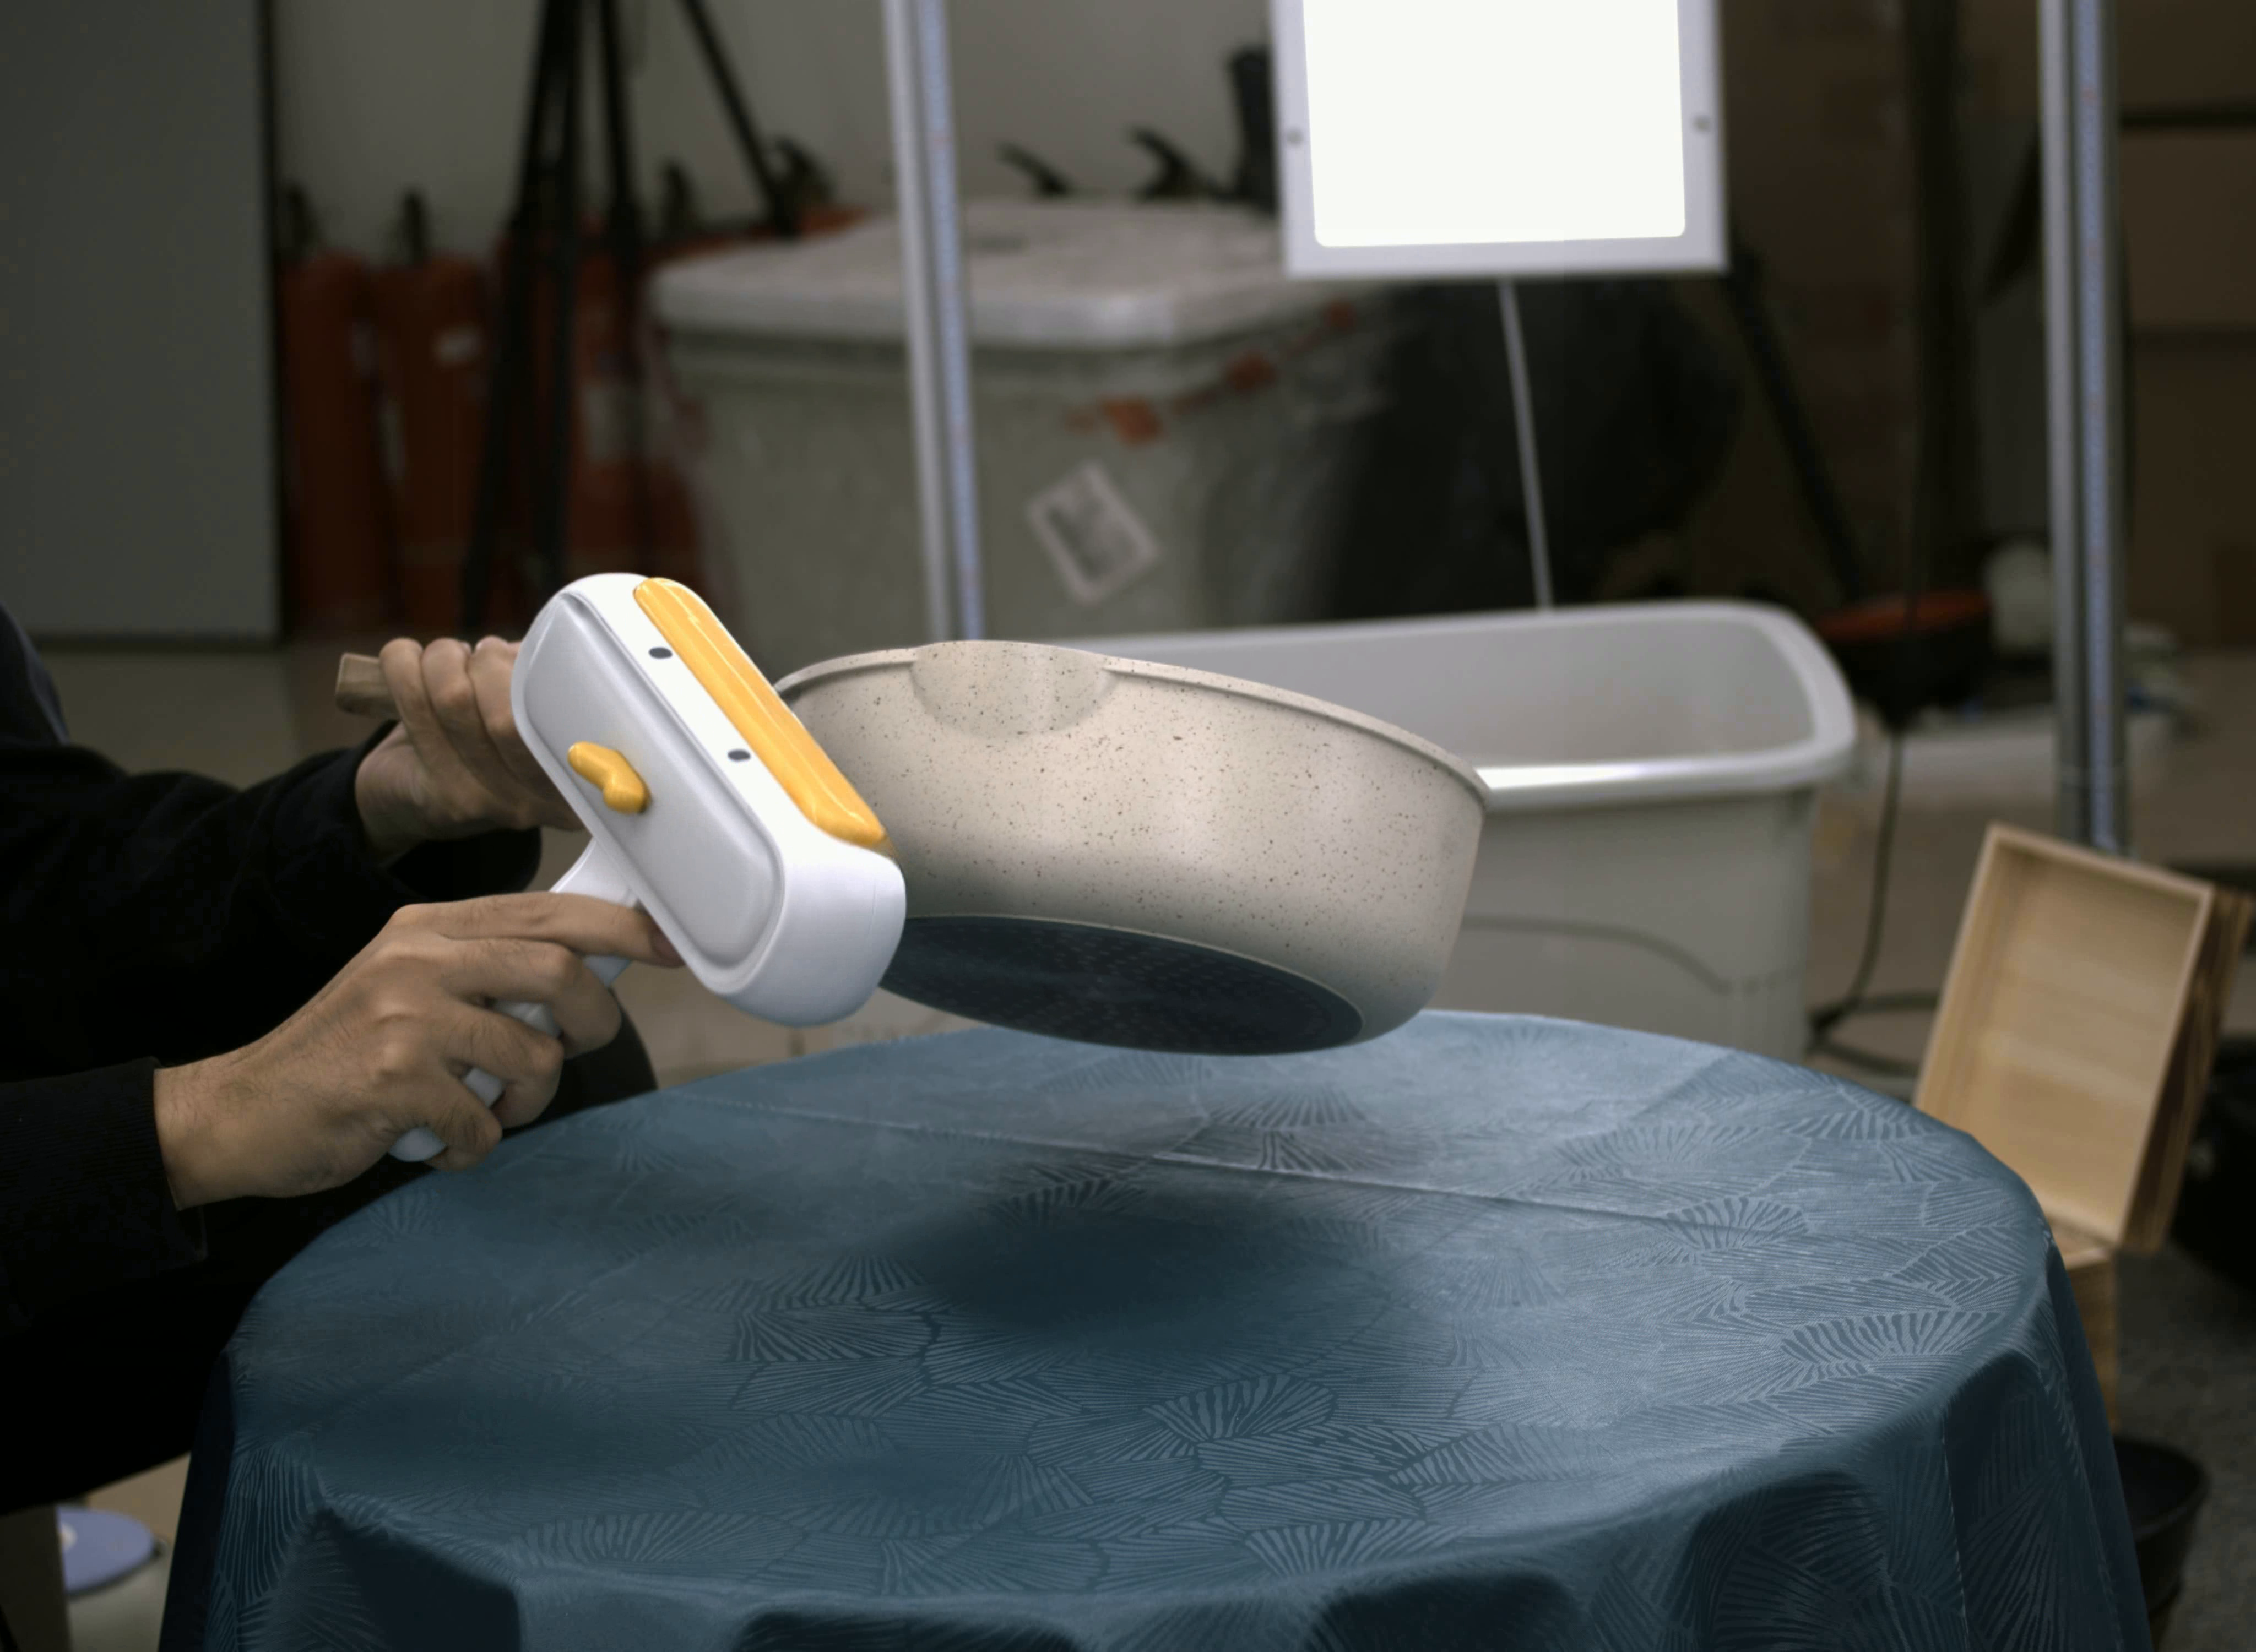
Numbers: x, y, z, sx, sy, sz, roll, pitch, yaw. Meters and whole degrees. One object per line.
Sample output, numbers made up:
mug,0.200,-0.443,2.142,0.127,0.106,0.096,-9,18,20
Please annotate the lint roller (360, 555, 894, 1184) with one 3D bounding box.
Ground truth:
lint roller,-0.174,0.032,1.752,0.072,0.194,0.195,14,24,-48

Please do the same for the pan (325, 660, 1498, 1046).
pan,-0.088,0.004,1.908,0.441,0.102,0.260,3,-12,22
